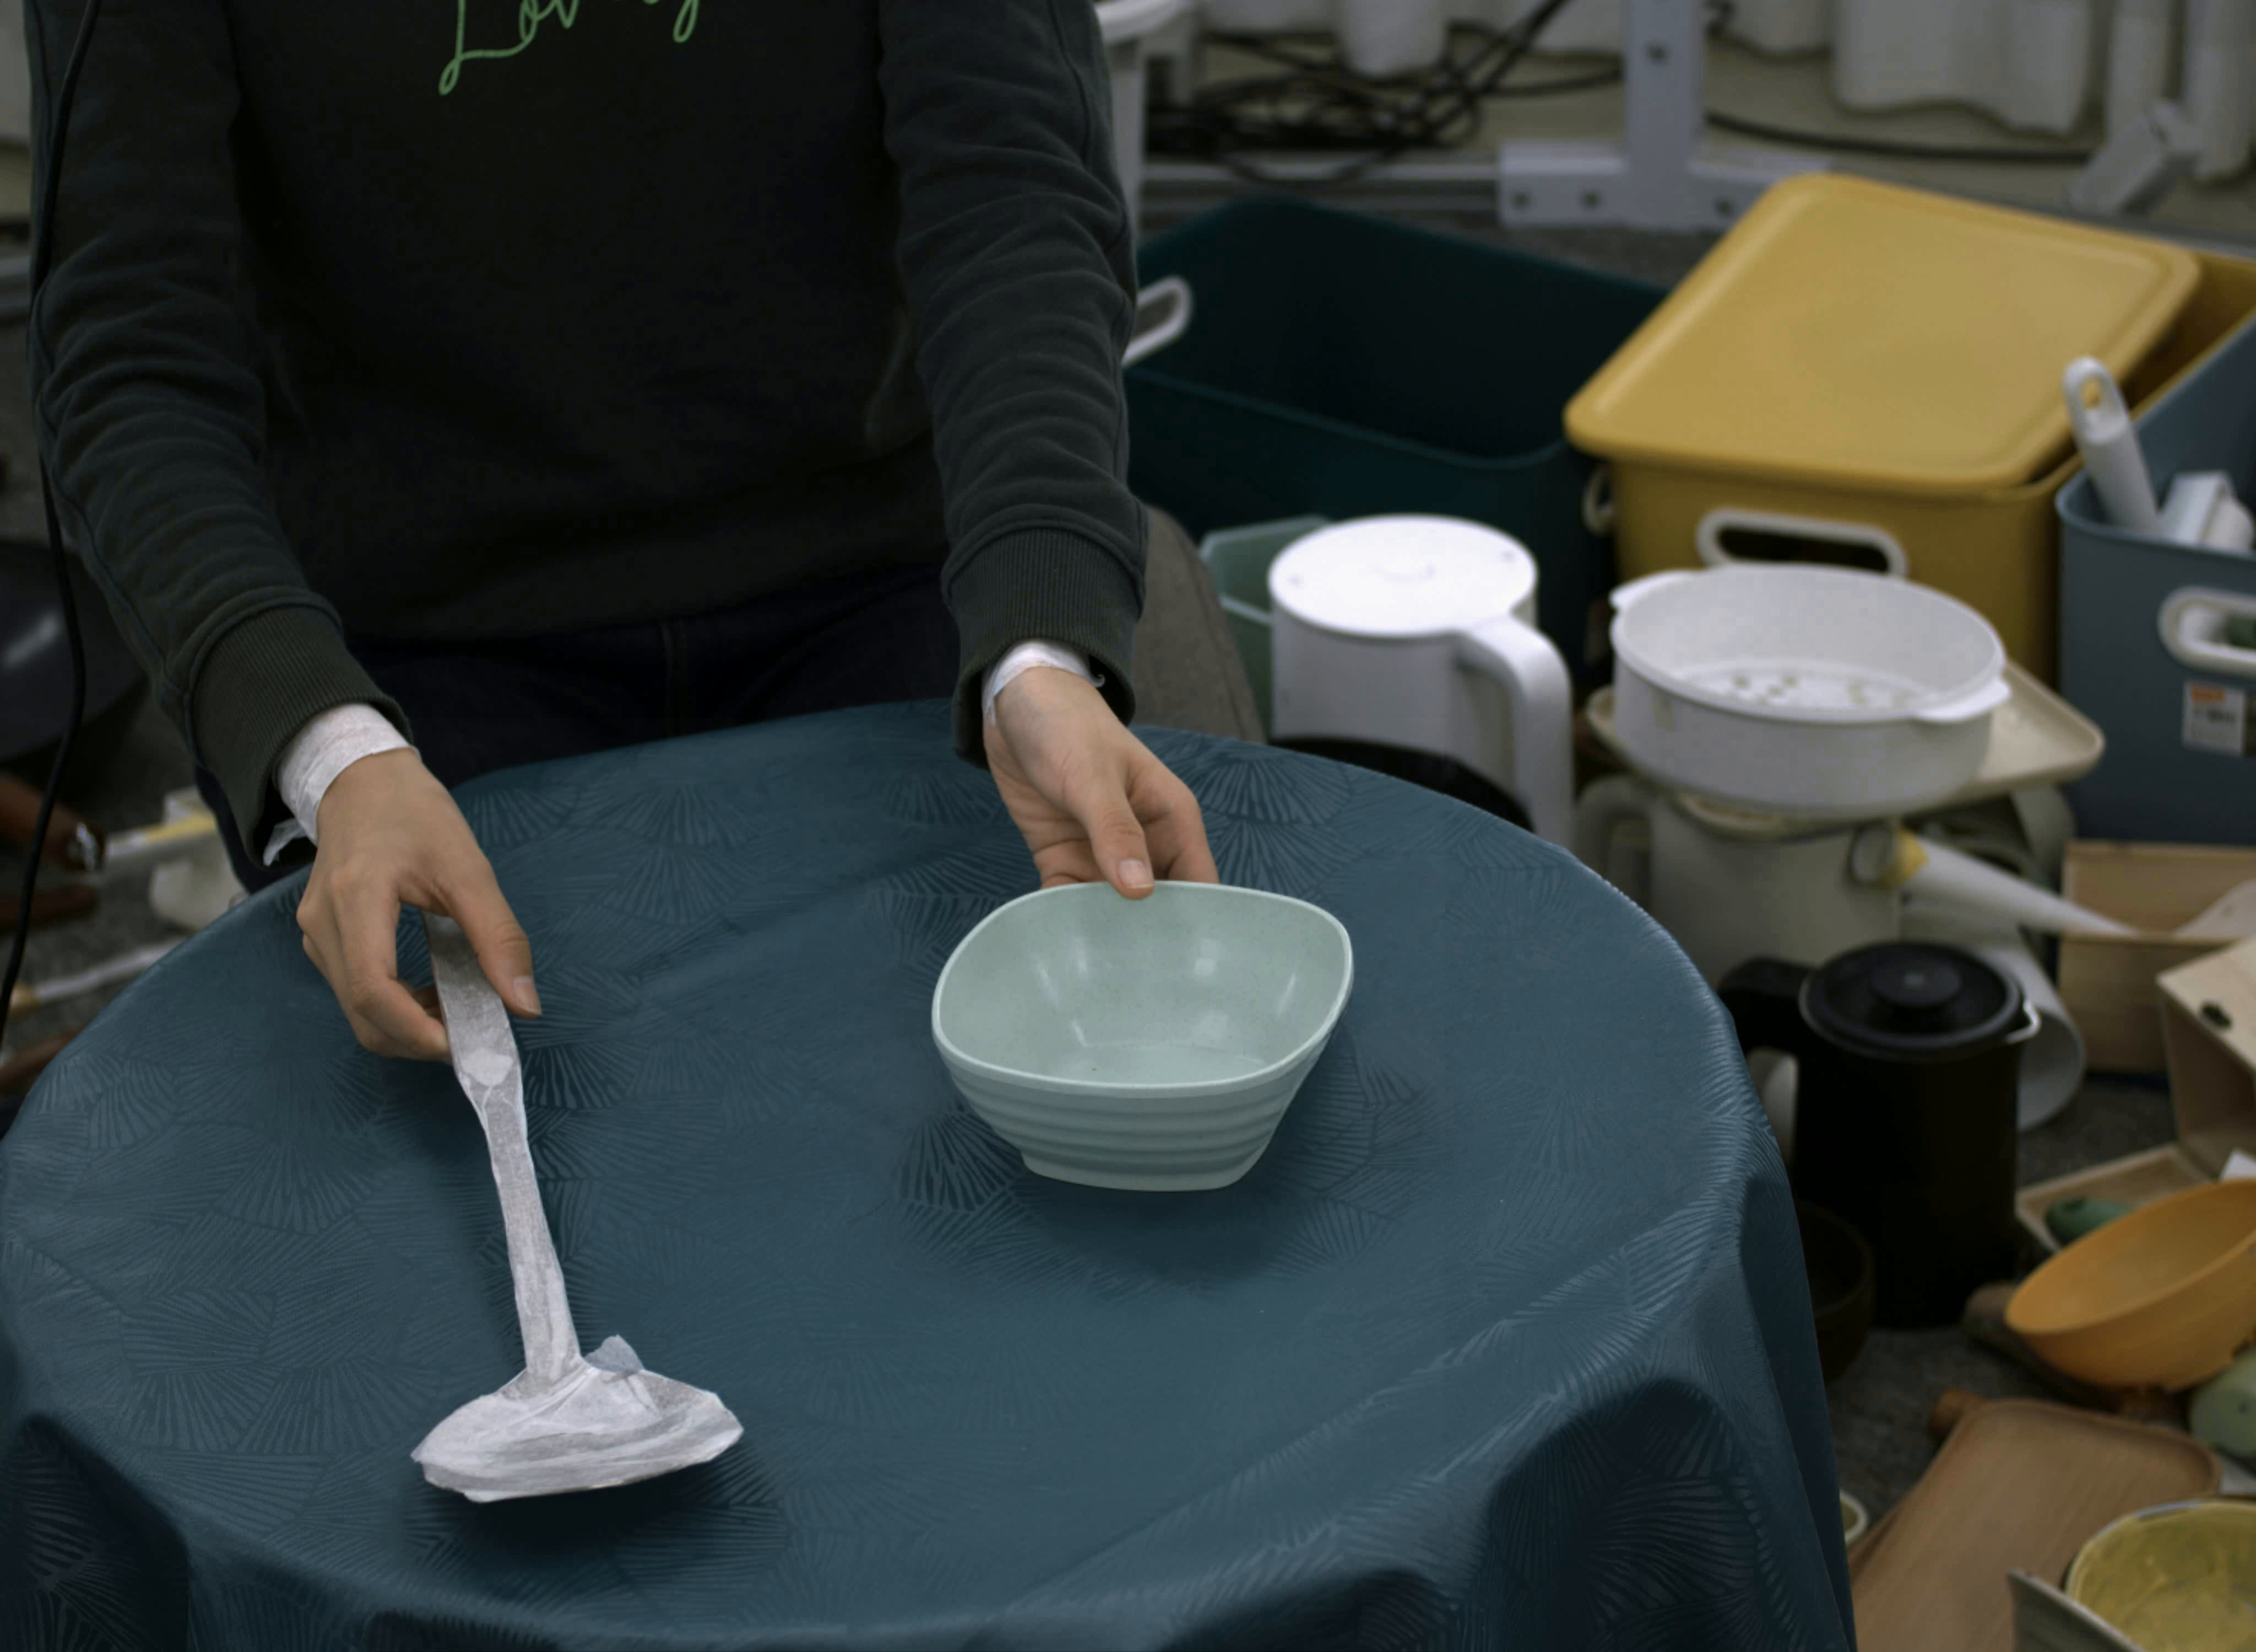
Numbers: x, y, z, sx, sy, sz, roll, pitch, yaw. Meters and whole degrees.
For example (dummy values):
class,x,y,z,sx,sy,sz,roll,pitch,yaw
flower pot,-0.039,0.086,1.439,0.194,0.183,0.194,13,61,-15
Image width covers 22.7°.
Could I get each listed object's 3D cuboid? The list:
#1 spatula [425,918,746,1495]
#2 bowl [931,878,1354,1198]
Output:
class,x,y,z,sx,sy,sz,roll,pitch,yaw
spatula,-0.195,0.115,1.829,0.098,0.044,0.370,-8,34,-9
bowl,0.006,0.077,1.888,0.151,0.058,0.154,-1,29,1
